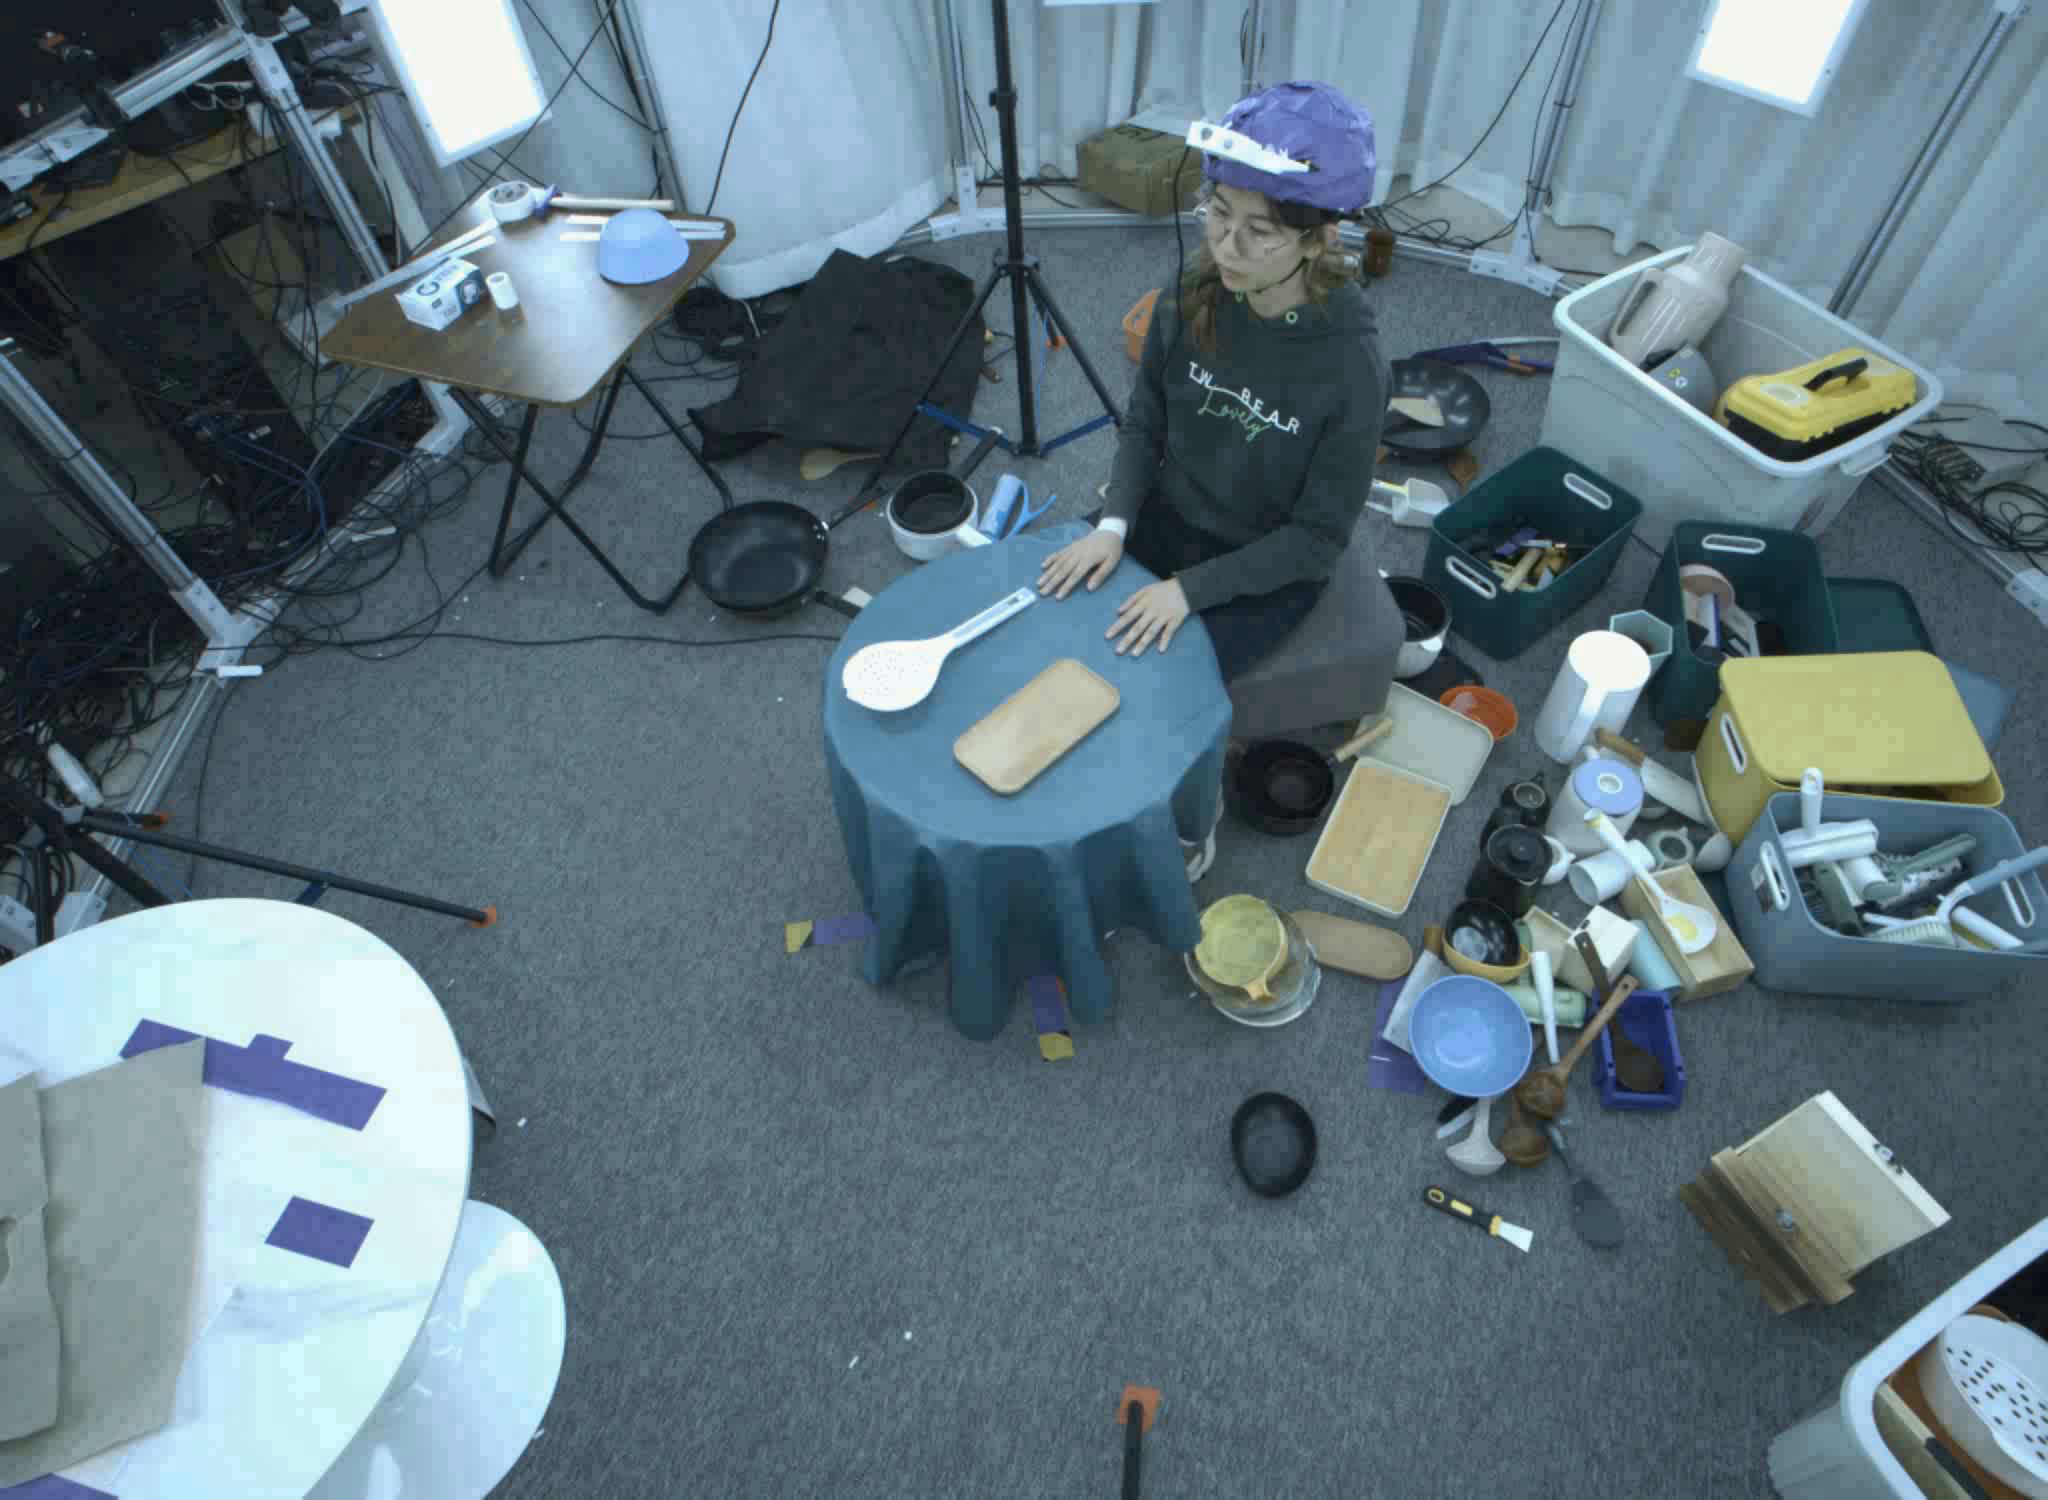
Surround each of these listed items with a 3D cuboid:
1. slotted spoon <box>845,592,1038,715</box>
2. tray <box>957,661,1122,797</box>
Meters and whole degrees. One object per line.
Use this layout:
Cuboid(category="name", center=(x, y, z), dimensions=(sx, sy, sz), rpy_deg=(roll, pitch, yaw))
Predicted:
Cuboid(category="slotted spoon", center=(-0.118, -0.157, 1.884), dimensions=(0.352, 0.046, 0.134), rpy_deg=(-36, 63, -22))
Cuboid(category="tray", center=(0.024, -0.033, 1.810), dimensions=(0.252, 0.023, 0.128), rpy_deg=(-39, 64, -24))
